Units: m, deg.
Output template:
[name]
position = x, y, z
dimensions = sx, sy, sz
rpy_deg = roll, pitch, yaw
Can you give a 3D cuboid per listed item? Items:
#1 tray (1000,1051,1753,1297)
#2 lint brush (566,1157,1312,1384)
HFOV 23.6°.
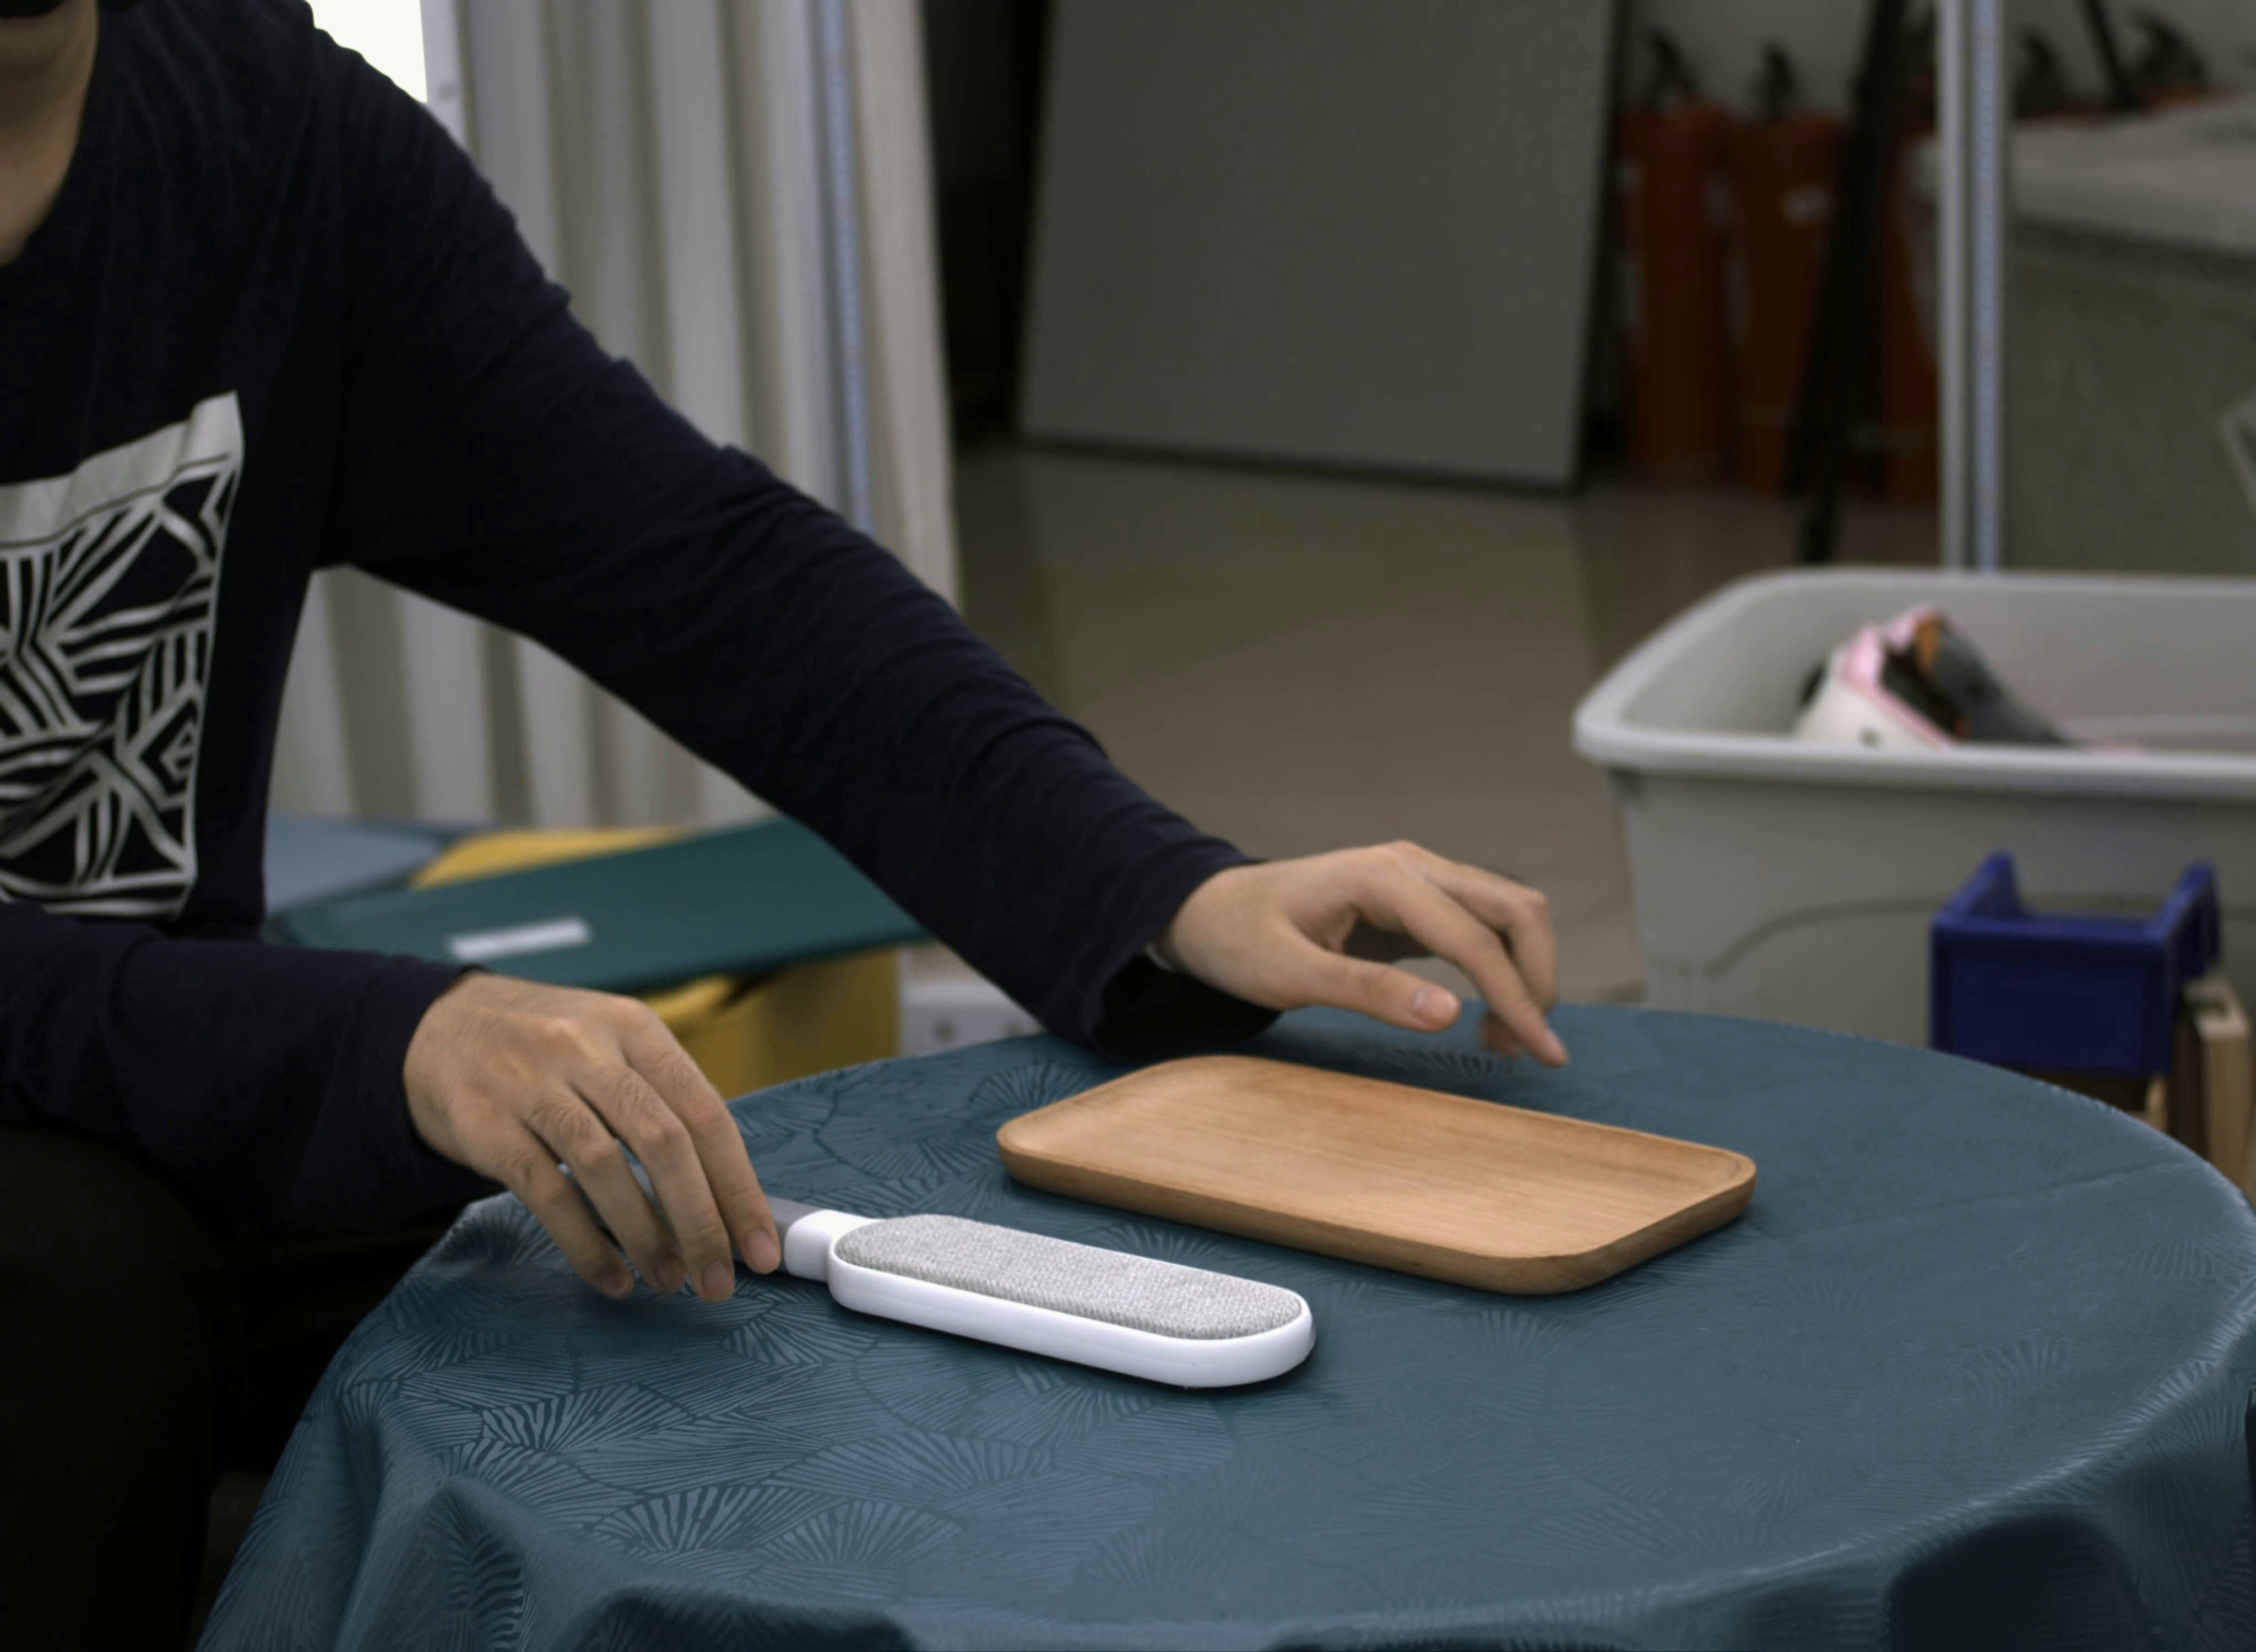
[tray]
position = 0.078, 0.111, 1.755
dimensions = 0.128, 0.023, 0.253
rpy_deg = -14, 16, -43
[lint brush]
position = -0.066, 0.135, 1.682
dimensions = 0.311, 0.021, 0.059
rpy_deg = 8, 23, 42
